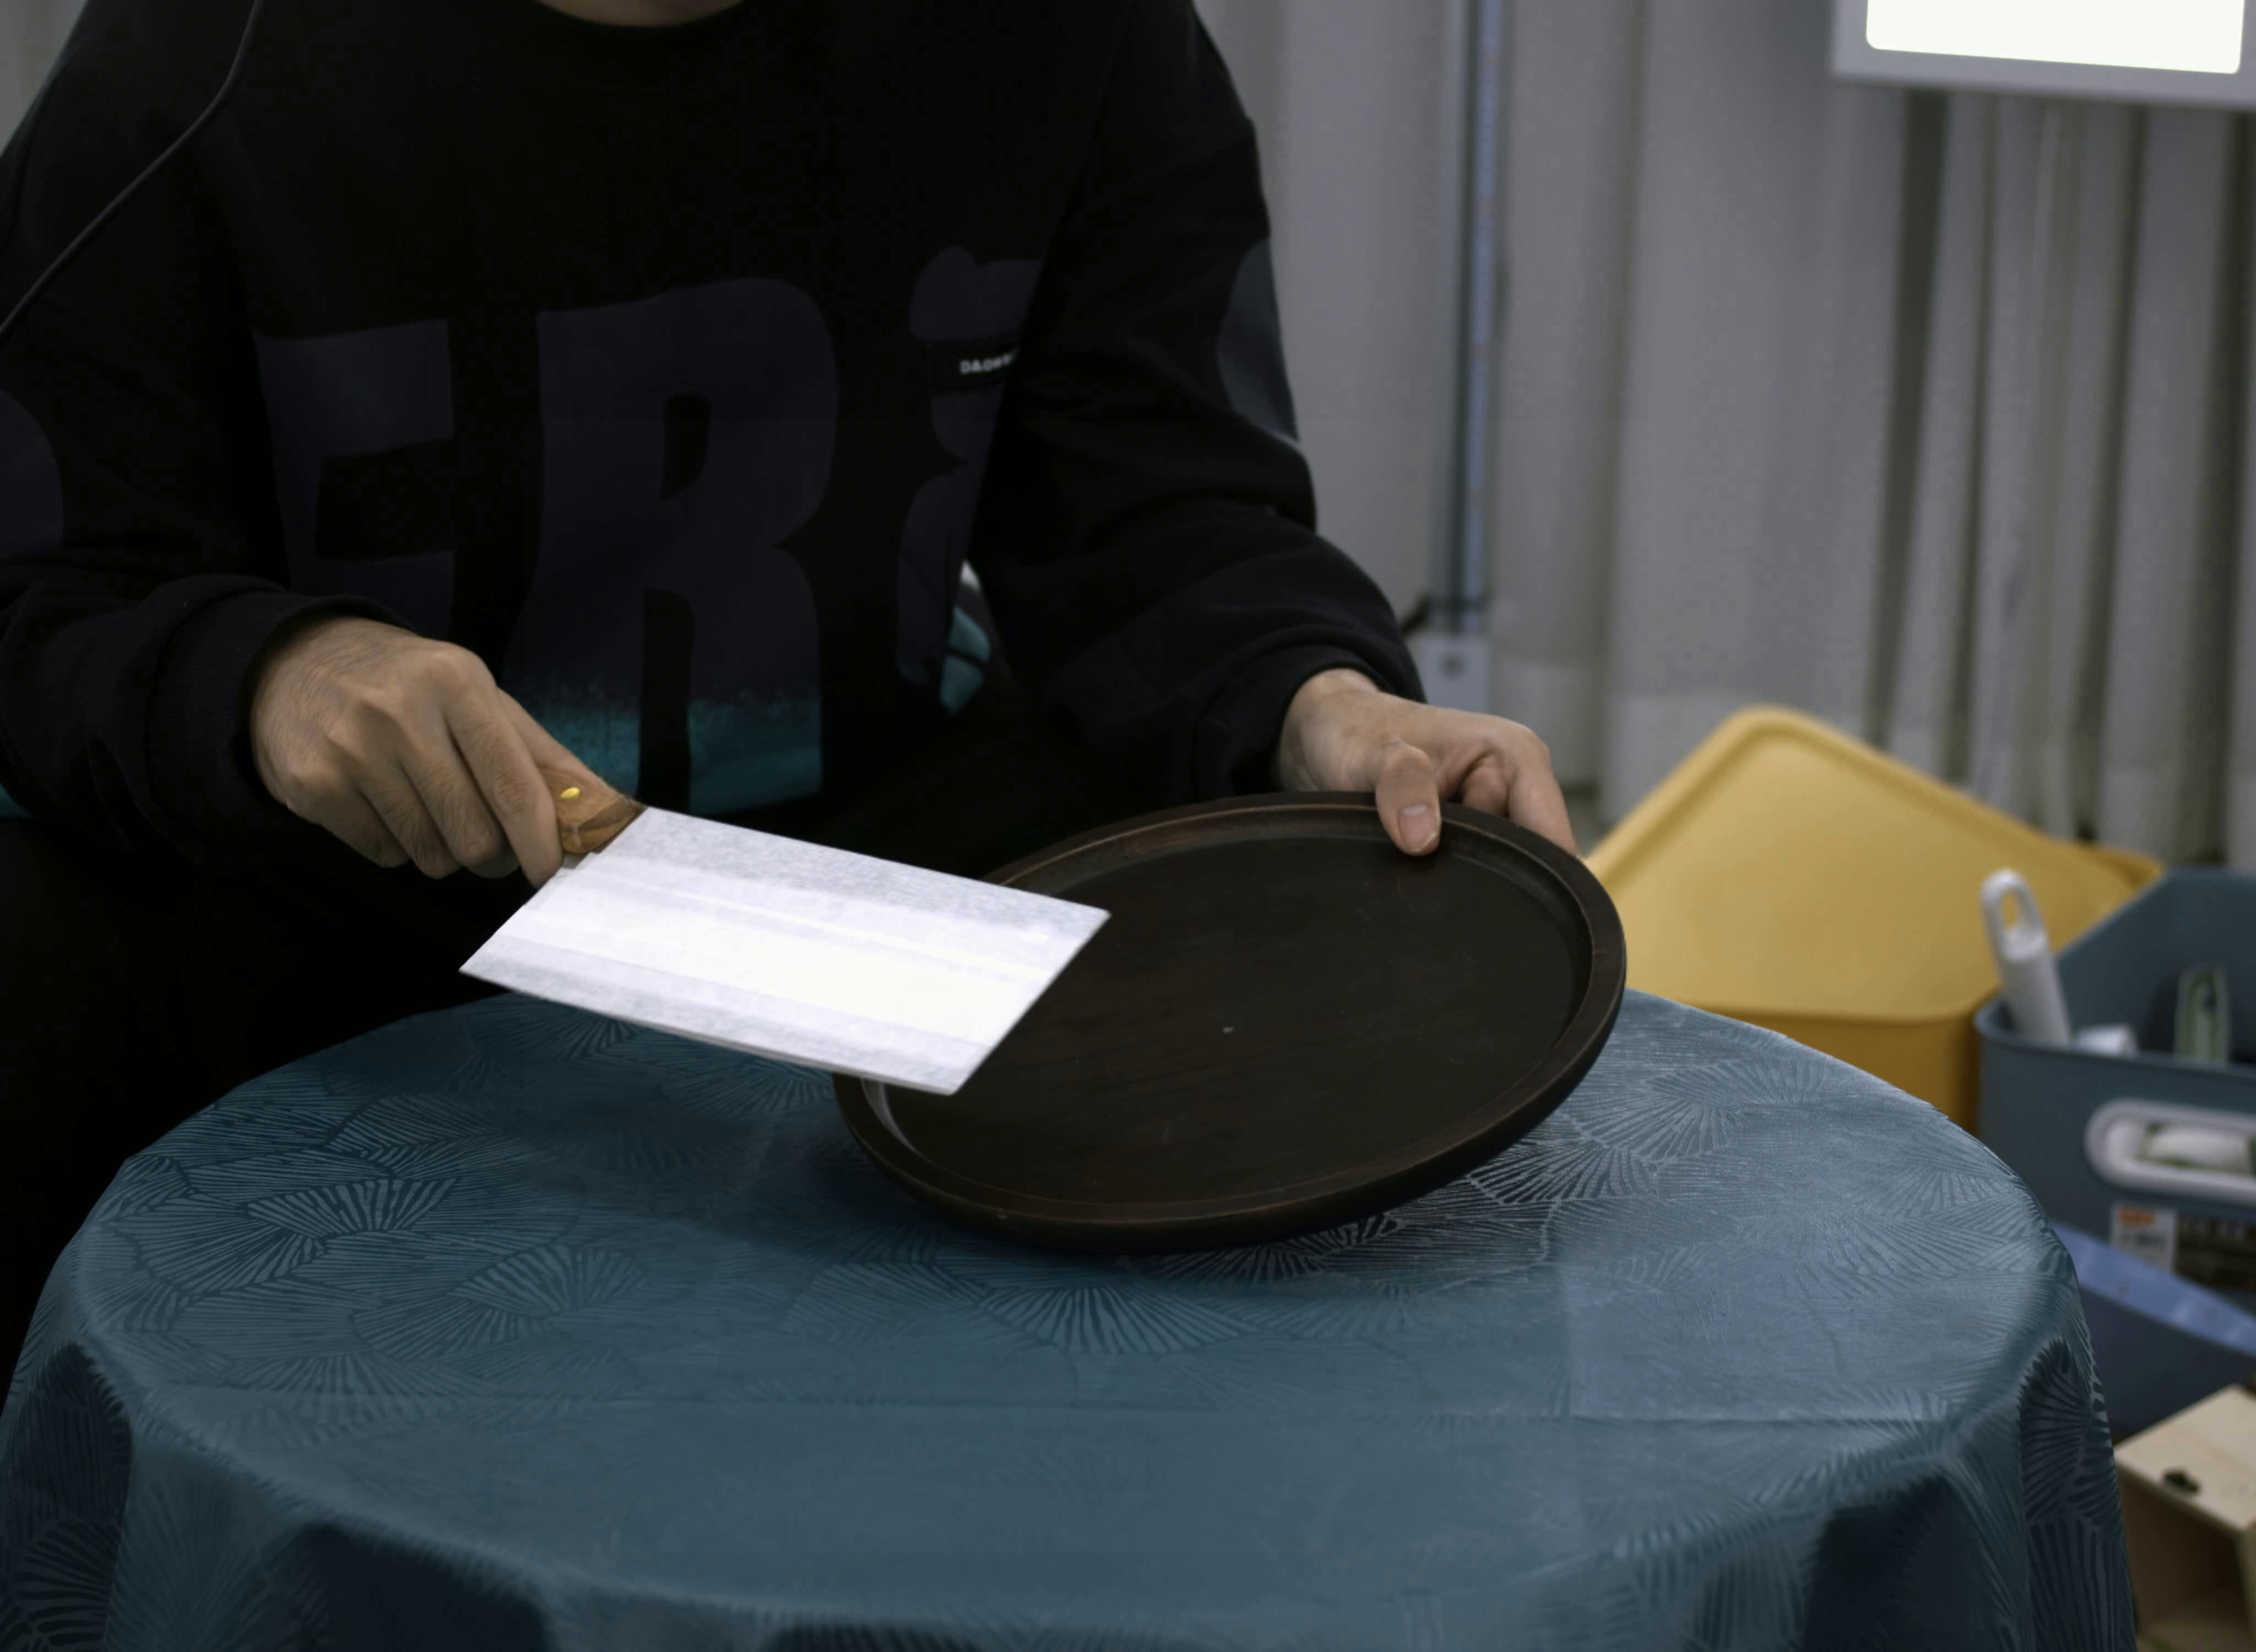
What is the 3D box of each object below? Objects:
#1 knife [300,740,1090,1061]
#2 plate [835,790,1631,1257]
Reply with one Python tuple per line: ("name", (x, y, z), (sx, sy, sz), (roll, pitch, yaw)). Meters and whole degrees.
("knife", (-0.154, 0.025, 1.635), (0.302, 0.021, 0.093), (12, 45, 32))
("plate", (0.033, 0.060, 1.649), (0.253, 0.029, 0.253), (-6, 29, 4))
